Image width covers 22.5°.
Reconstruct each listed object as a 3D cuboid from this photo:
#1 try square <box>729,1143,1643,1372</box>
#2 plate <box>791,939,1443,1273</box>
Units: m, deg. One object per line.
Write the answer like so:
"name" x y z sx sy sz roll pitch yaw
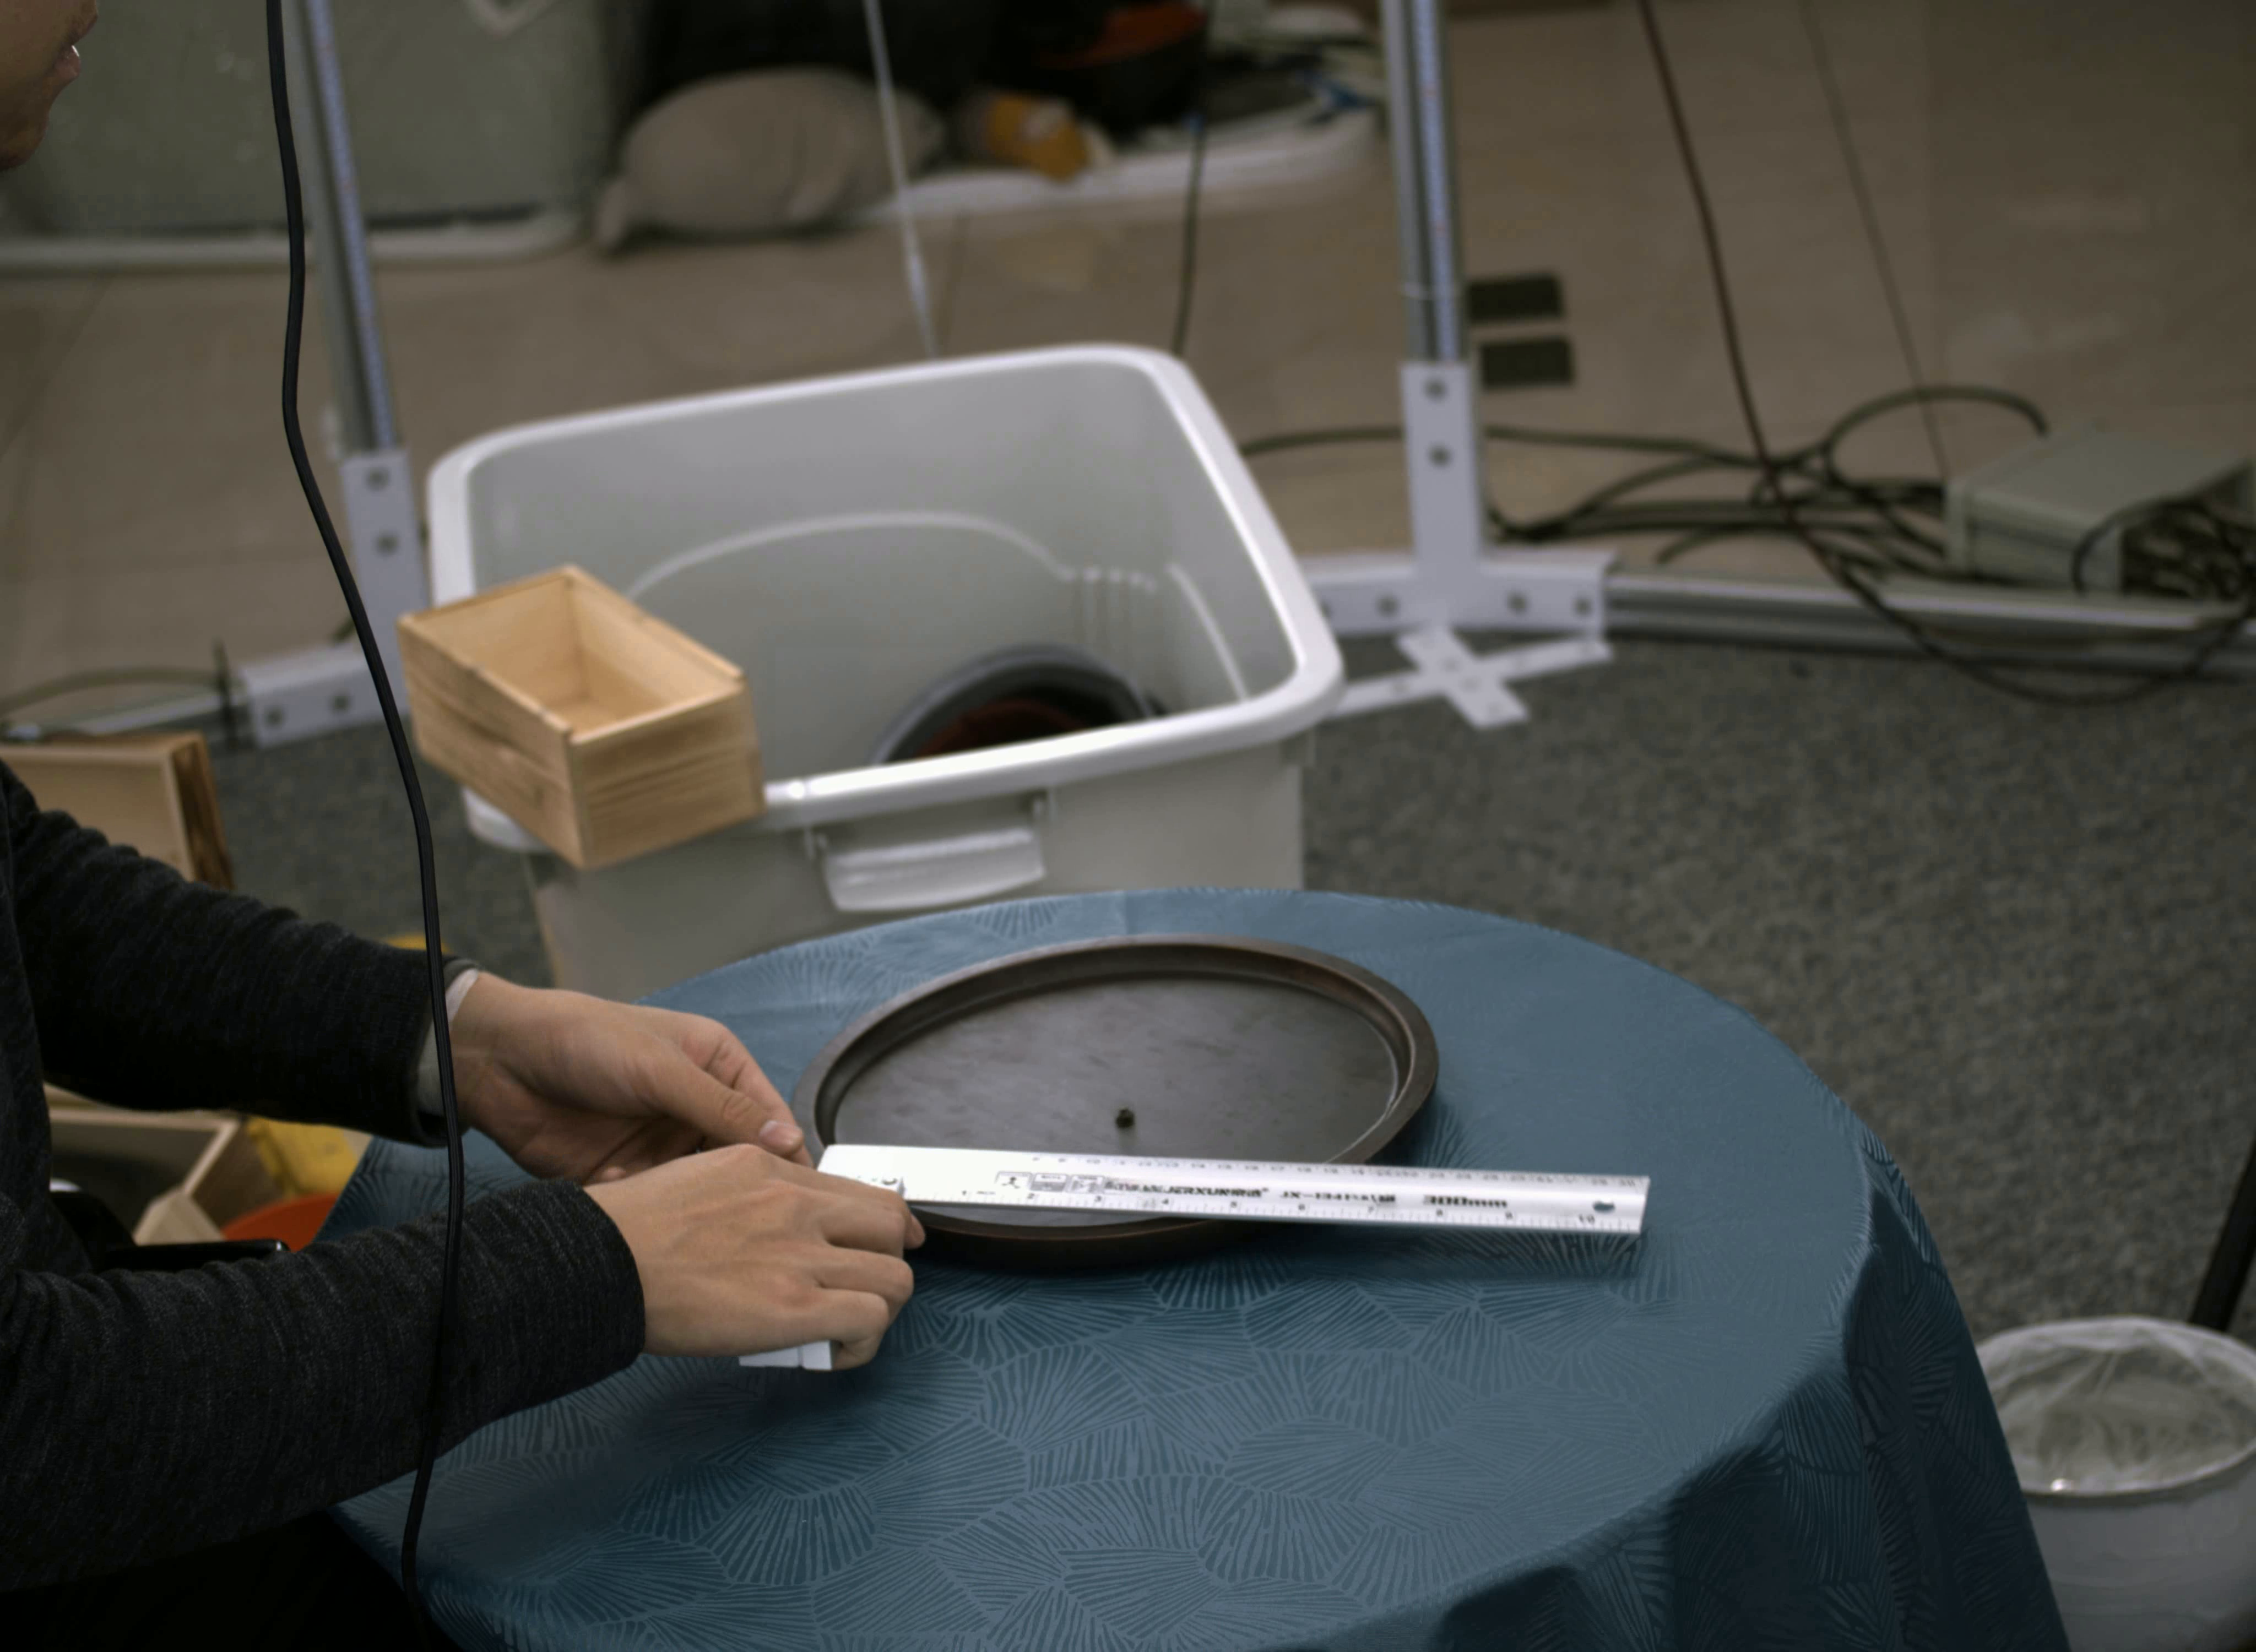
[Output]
"try square" 0.023 0.157 2.049 0.312 0.016 0.150 1 27 11
"plate" -0.004 0.106 2.191 0.254 0.029 0.251 -4 25 2
